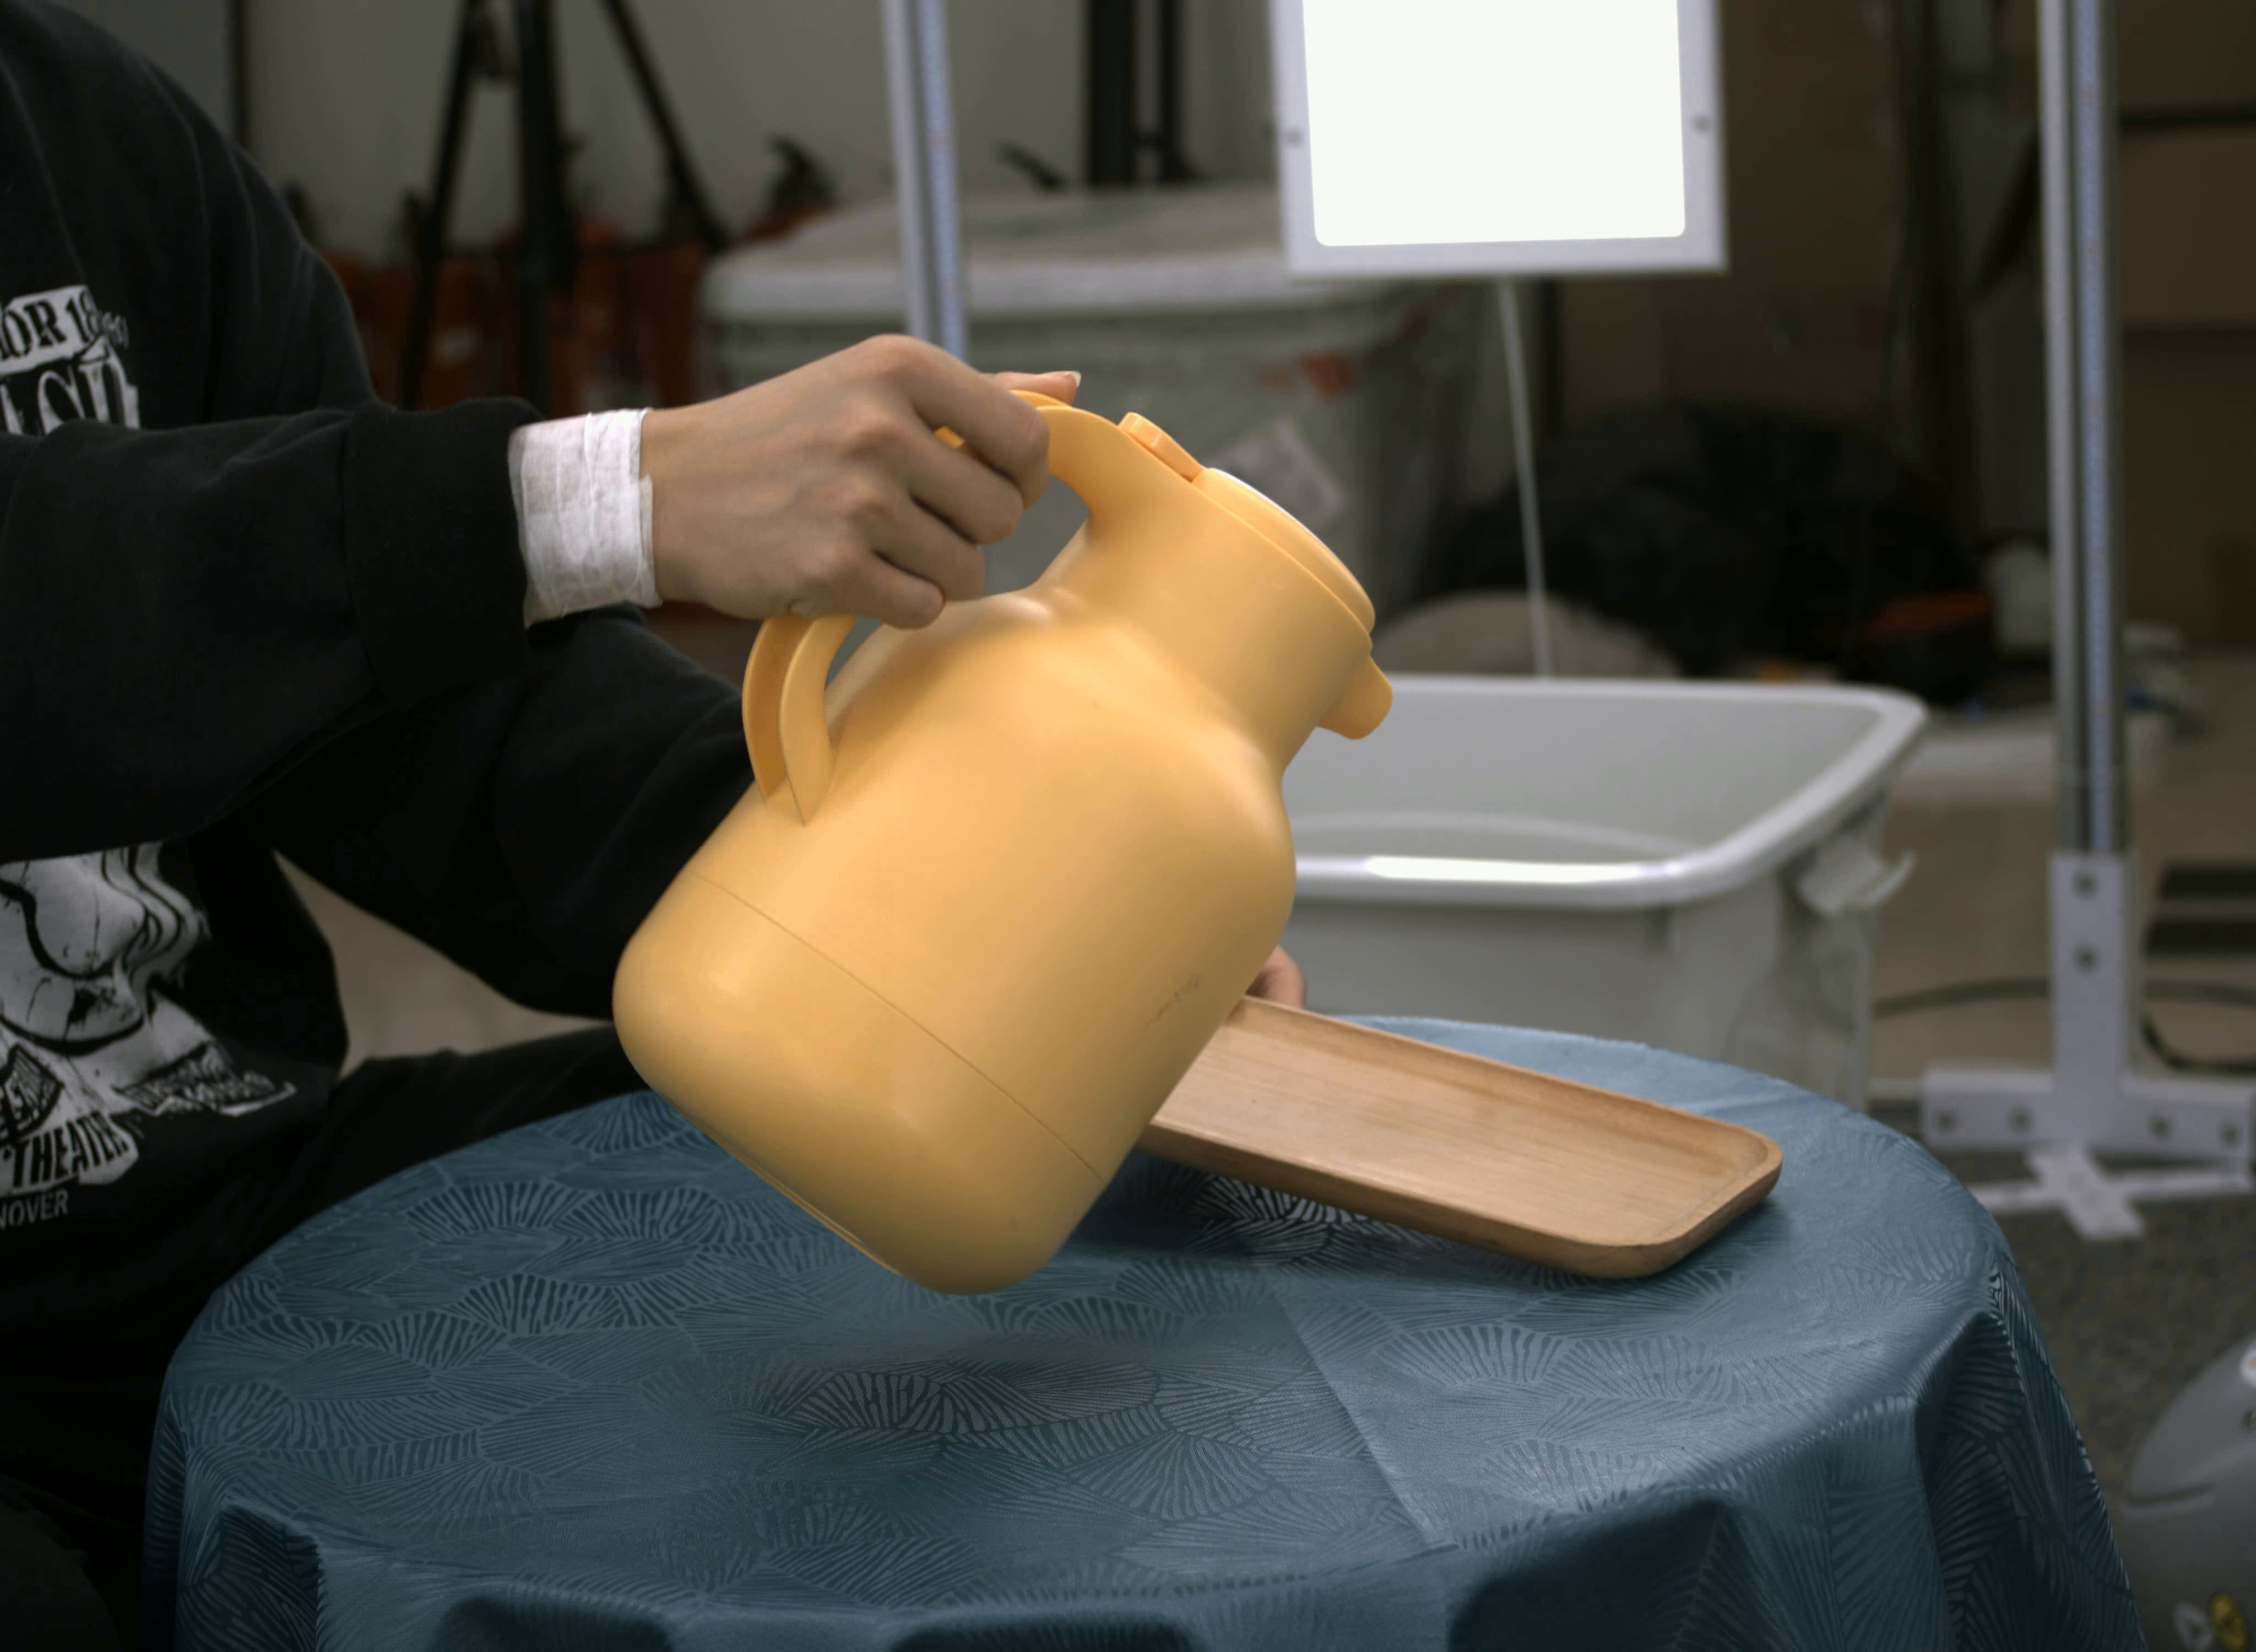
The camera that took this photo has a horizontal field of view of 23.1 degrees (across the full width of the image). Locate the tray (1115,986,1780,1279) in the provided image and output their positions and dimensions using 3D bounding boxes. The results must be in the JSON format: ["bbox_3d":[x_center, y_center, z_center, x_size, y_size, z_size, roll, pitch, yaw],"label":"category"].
[{"bbox_3d":[0.090,0.101,1.856,0.255,0.023,0.127,14,19,31],"label":"tray"}]

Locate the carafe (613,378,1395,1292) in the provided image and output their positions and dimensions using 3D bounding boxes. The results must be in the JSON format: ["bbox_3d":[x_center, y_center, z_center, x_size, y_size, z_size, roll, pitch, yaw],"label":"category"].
[{"bbox_3d":[-0.043,-0.006,1.691,0.259,0.200,0.166,-53,31,-9],"label":"carafe"}]
